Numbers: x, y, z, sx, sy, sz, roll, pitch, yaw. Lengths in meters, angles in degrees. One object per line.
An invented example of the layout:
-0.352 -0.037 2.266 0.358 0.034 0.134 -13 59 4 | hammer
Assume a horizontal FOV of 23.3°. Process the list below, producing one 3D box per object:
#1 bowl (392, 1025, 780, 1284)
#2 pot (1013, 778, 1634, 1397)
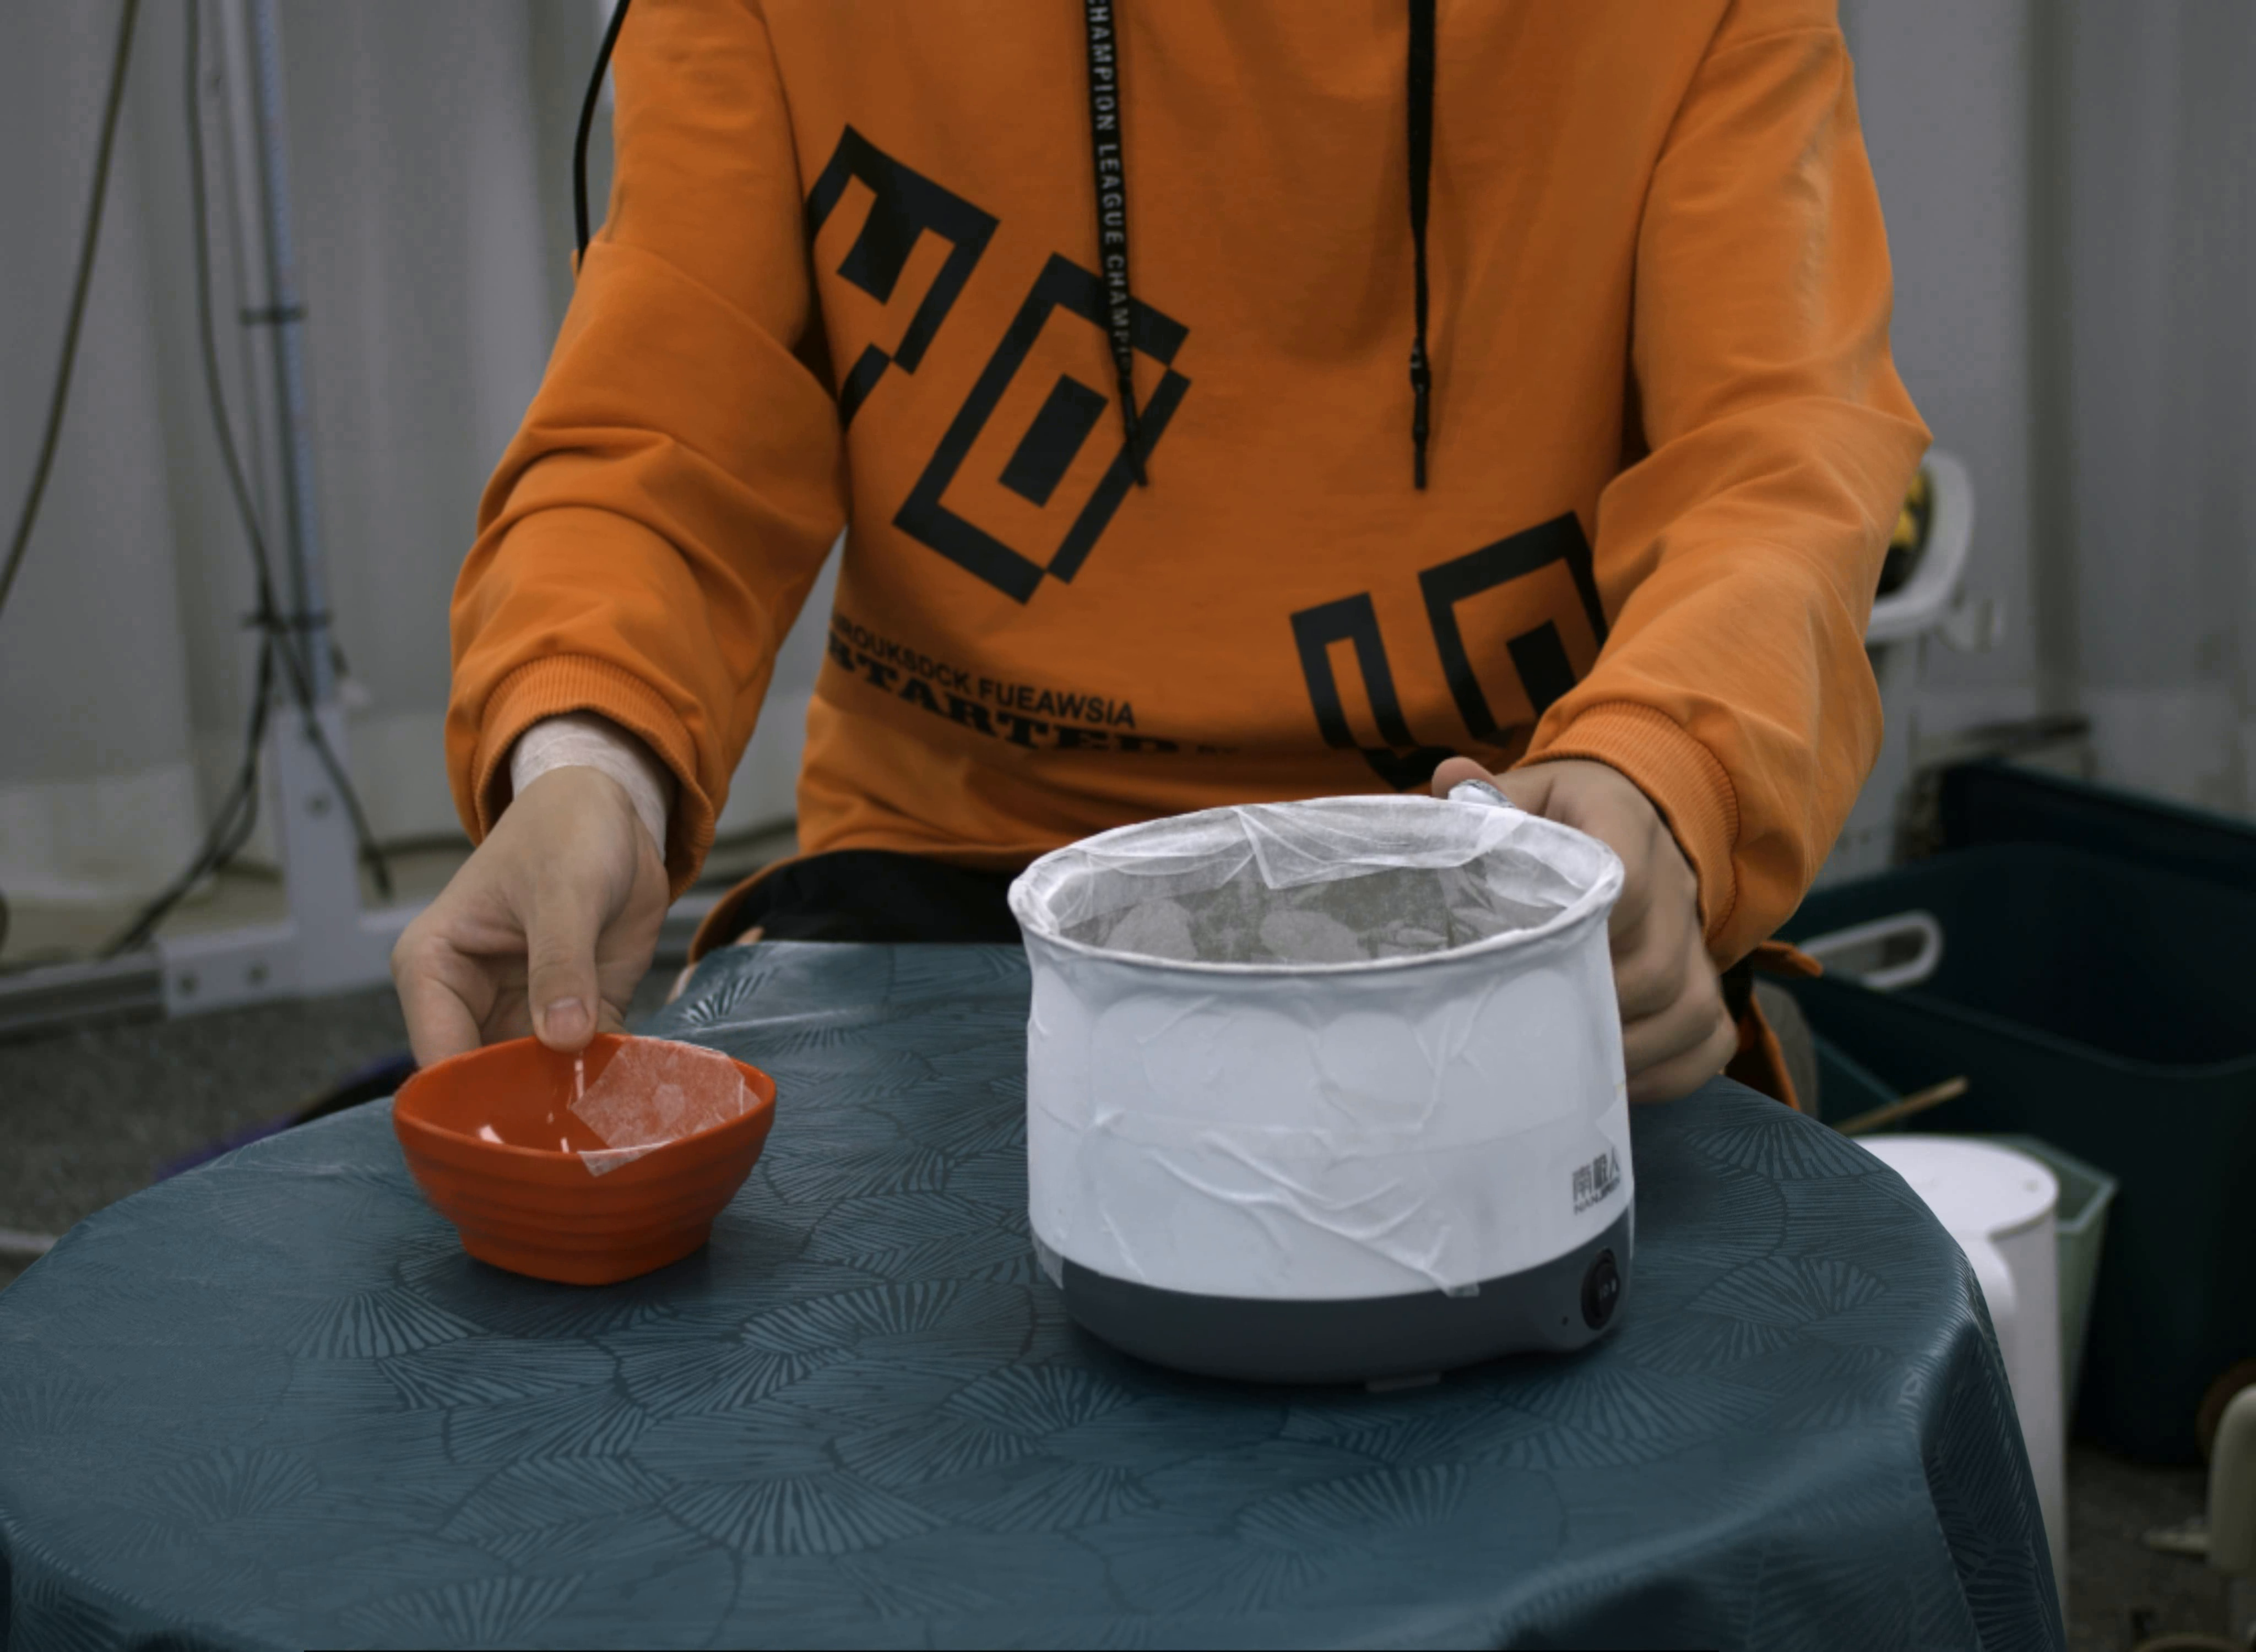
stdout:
-0.166 0.103 1.681 0.118 0.051 0.120 0 17 0 | bowl
0.071 0.069 1.607 0.179 0.136 0.234 6 17 29 | pot
